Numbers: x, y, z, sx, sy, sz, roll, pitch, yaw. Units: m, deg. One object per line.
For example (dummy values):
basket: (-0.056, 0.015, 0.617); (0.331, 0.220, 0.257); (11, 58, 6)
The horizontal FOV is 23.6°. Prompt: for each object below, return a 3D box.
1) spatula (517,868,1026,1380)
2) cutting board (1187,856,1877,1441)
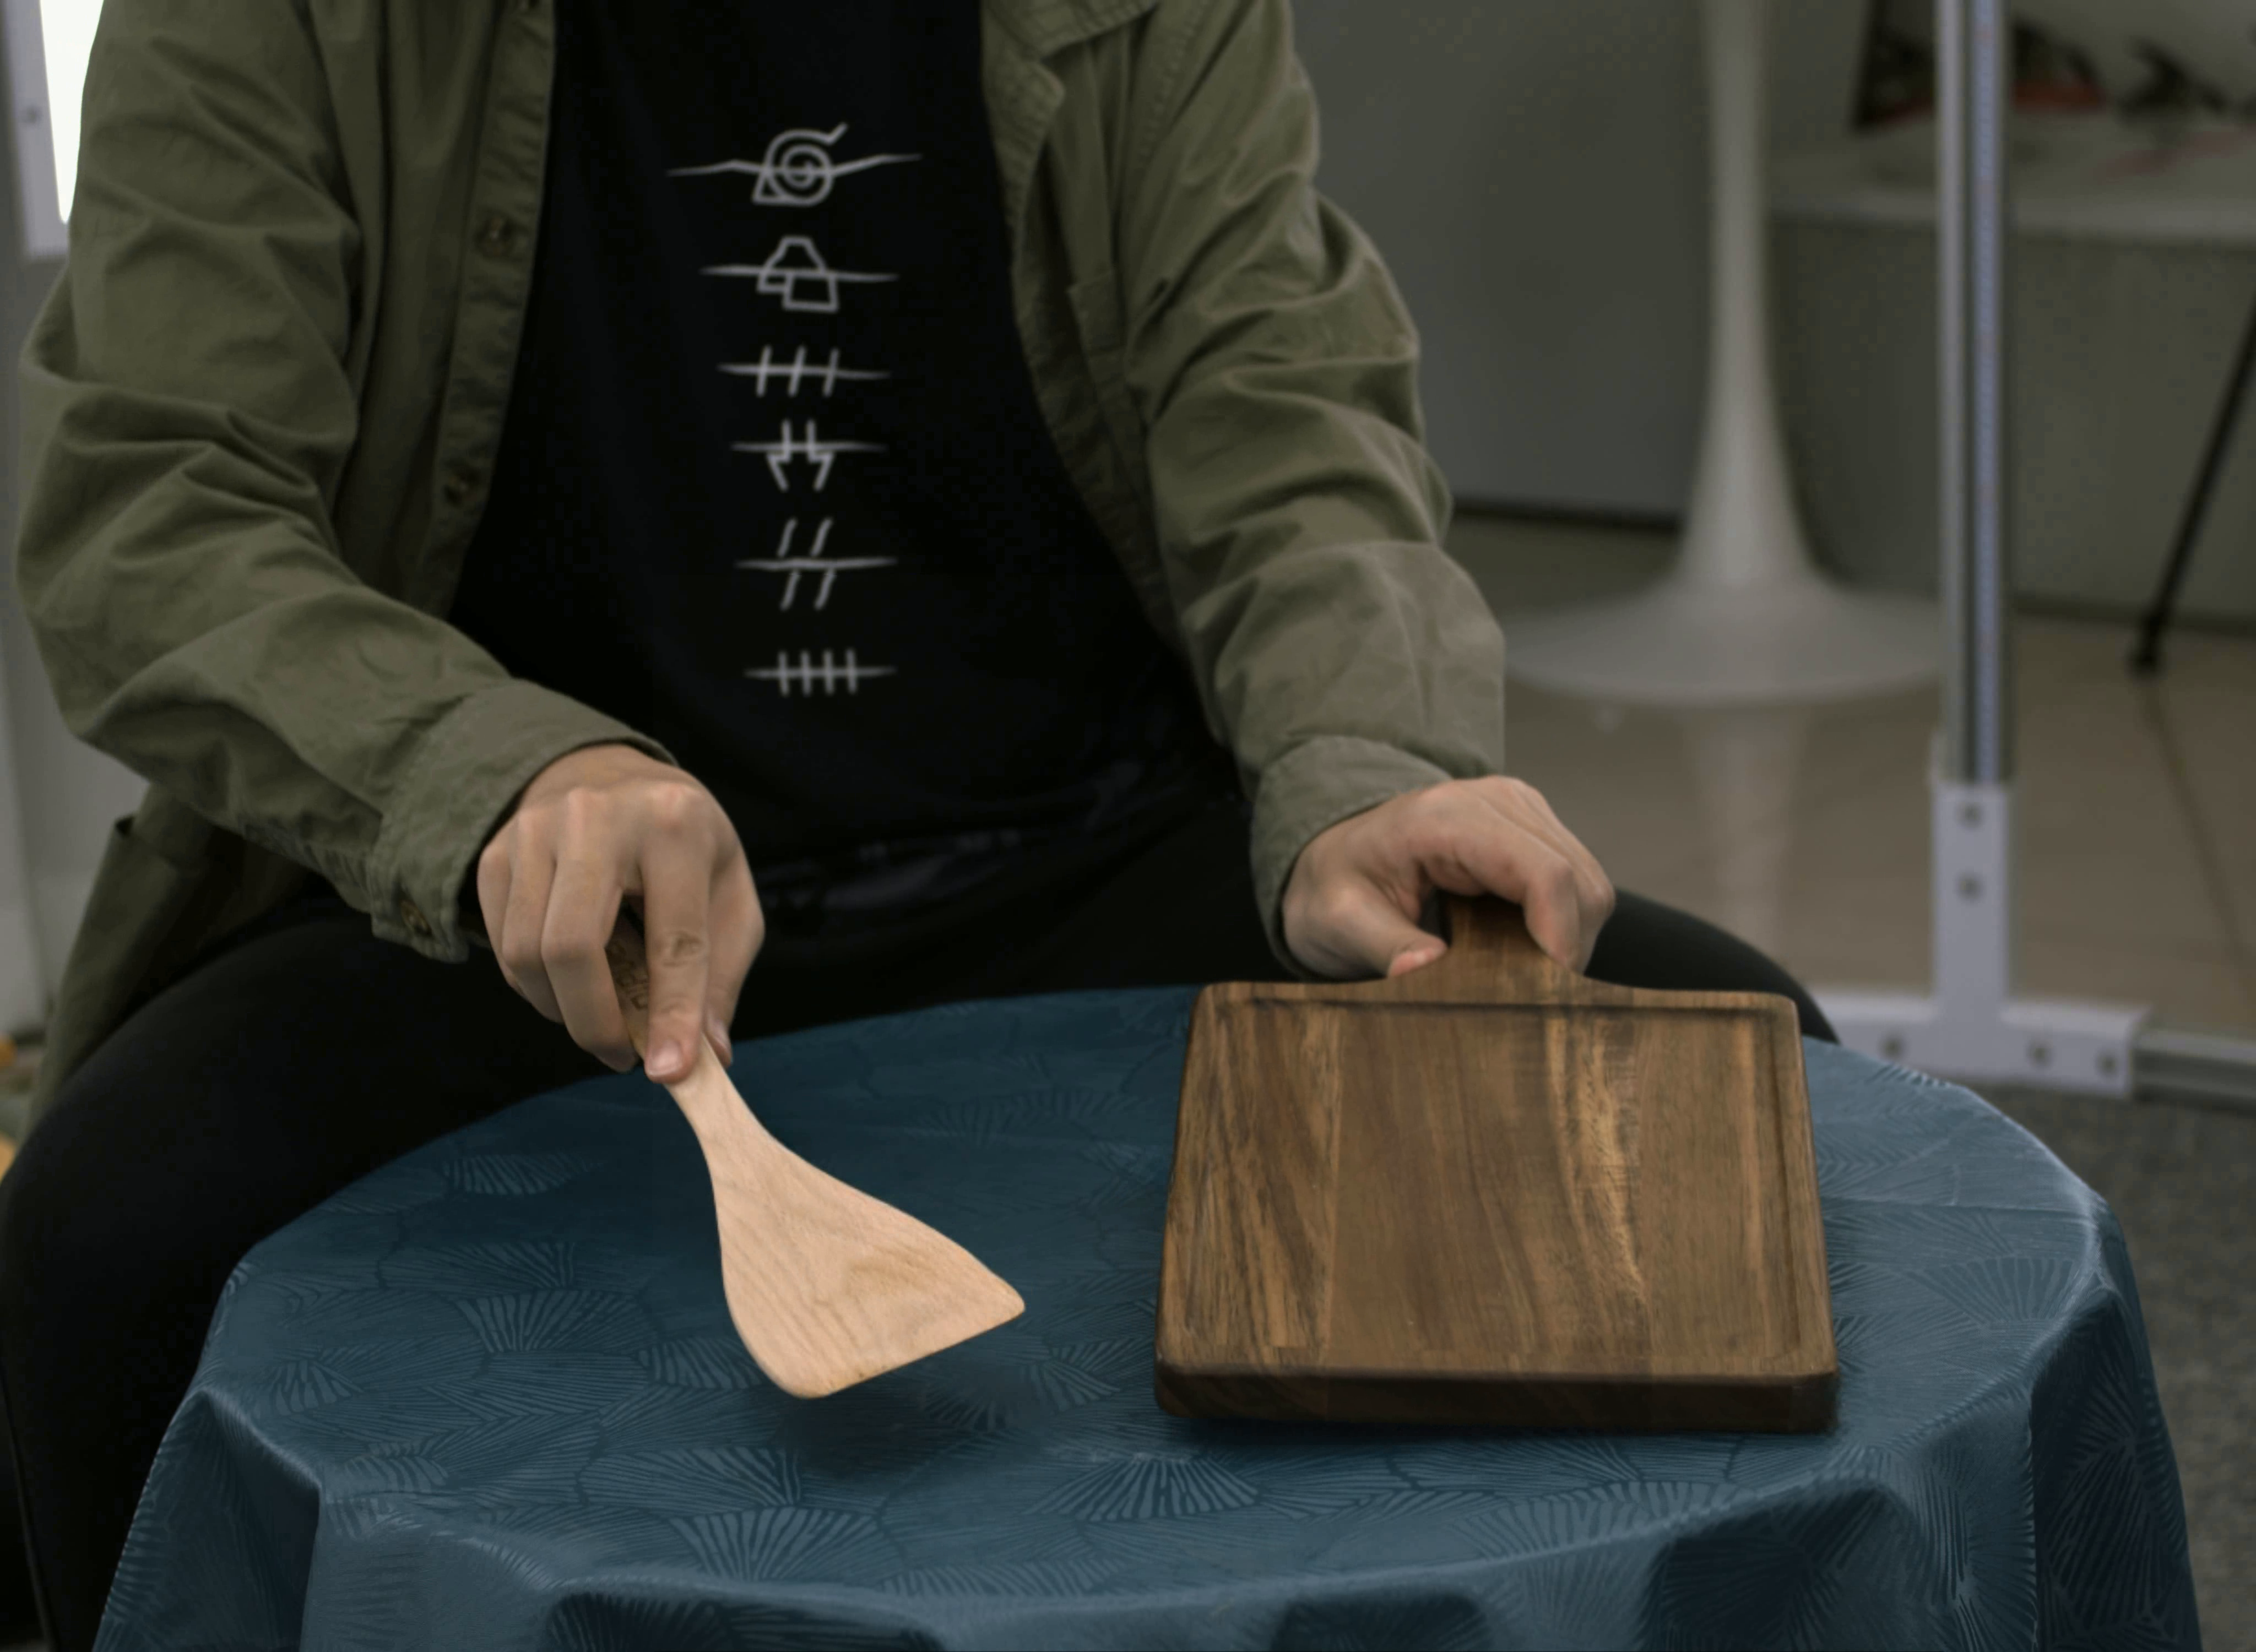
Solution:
spatula: (-0.125, 0.083, 1.668); (0.078, 0.016, 0.331); (-15, 31, -20)
cutting board: (0.126, 0.091, 1.670); (0.199, 0.023, 0.352); (1, 24, 5)
